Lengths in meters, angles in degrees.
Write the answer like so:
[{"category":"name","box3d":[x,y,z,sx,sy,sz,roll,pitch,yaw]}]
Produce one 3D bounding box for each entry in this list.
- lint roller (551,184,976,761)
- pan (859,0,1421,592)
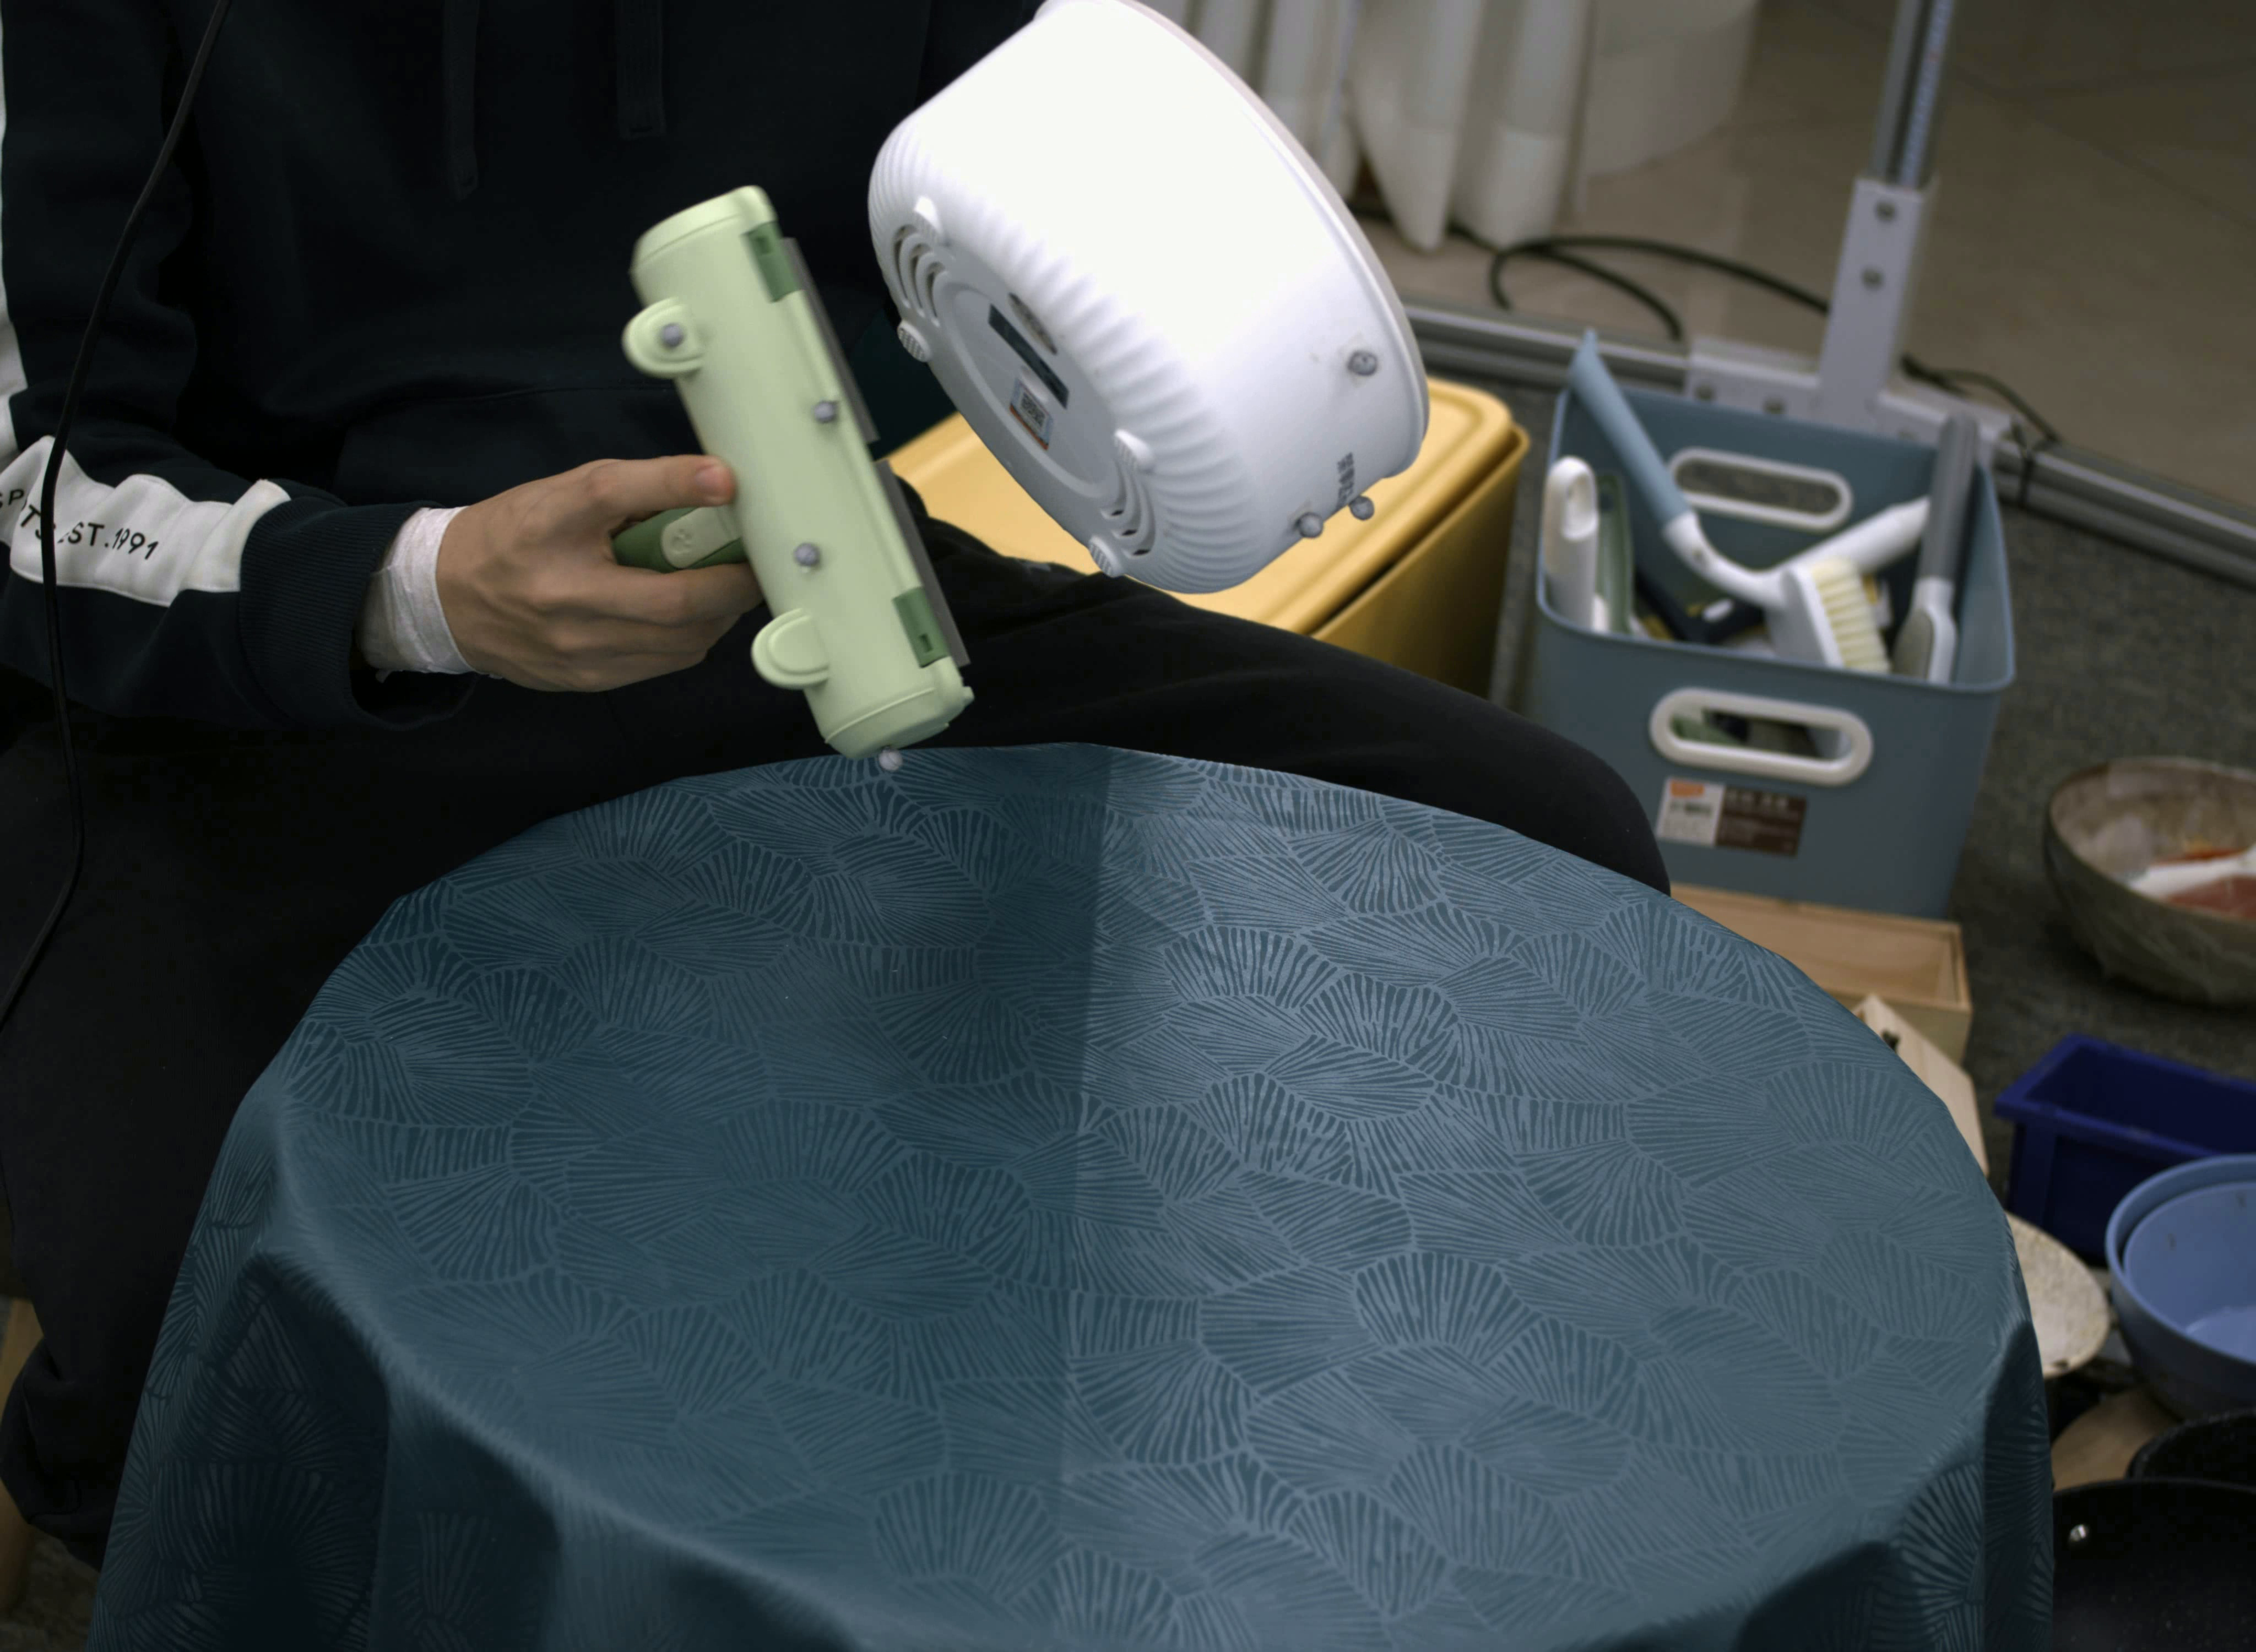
[{"category":"lint roller","box3d":[-0.155,-0.099,1.859,0.183,0.199,0.082,-26,-8,34]},{"category":"pan","box3d":[-0.010,-0.151,1.876,0.102,0.354,0.202,-39,79,-16]}]
